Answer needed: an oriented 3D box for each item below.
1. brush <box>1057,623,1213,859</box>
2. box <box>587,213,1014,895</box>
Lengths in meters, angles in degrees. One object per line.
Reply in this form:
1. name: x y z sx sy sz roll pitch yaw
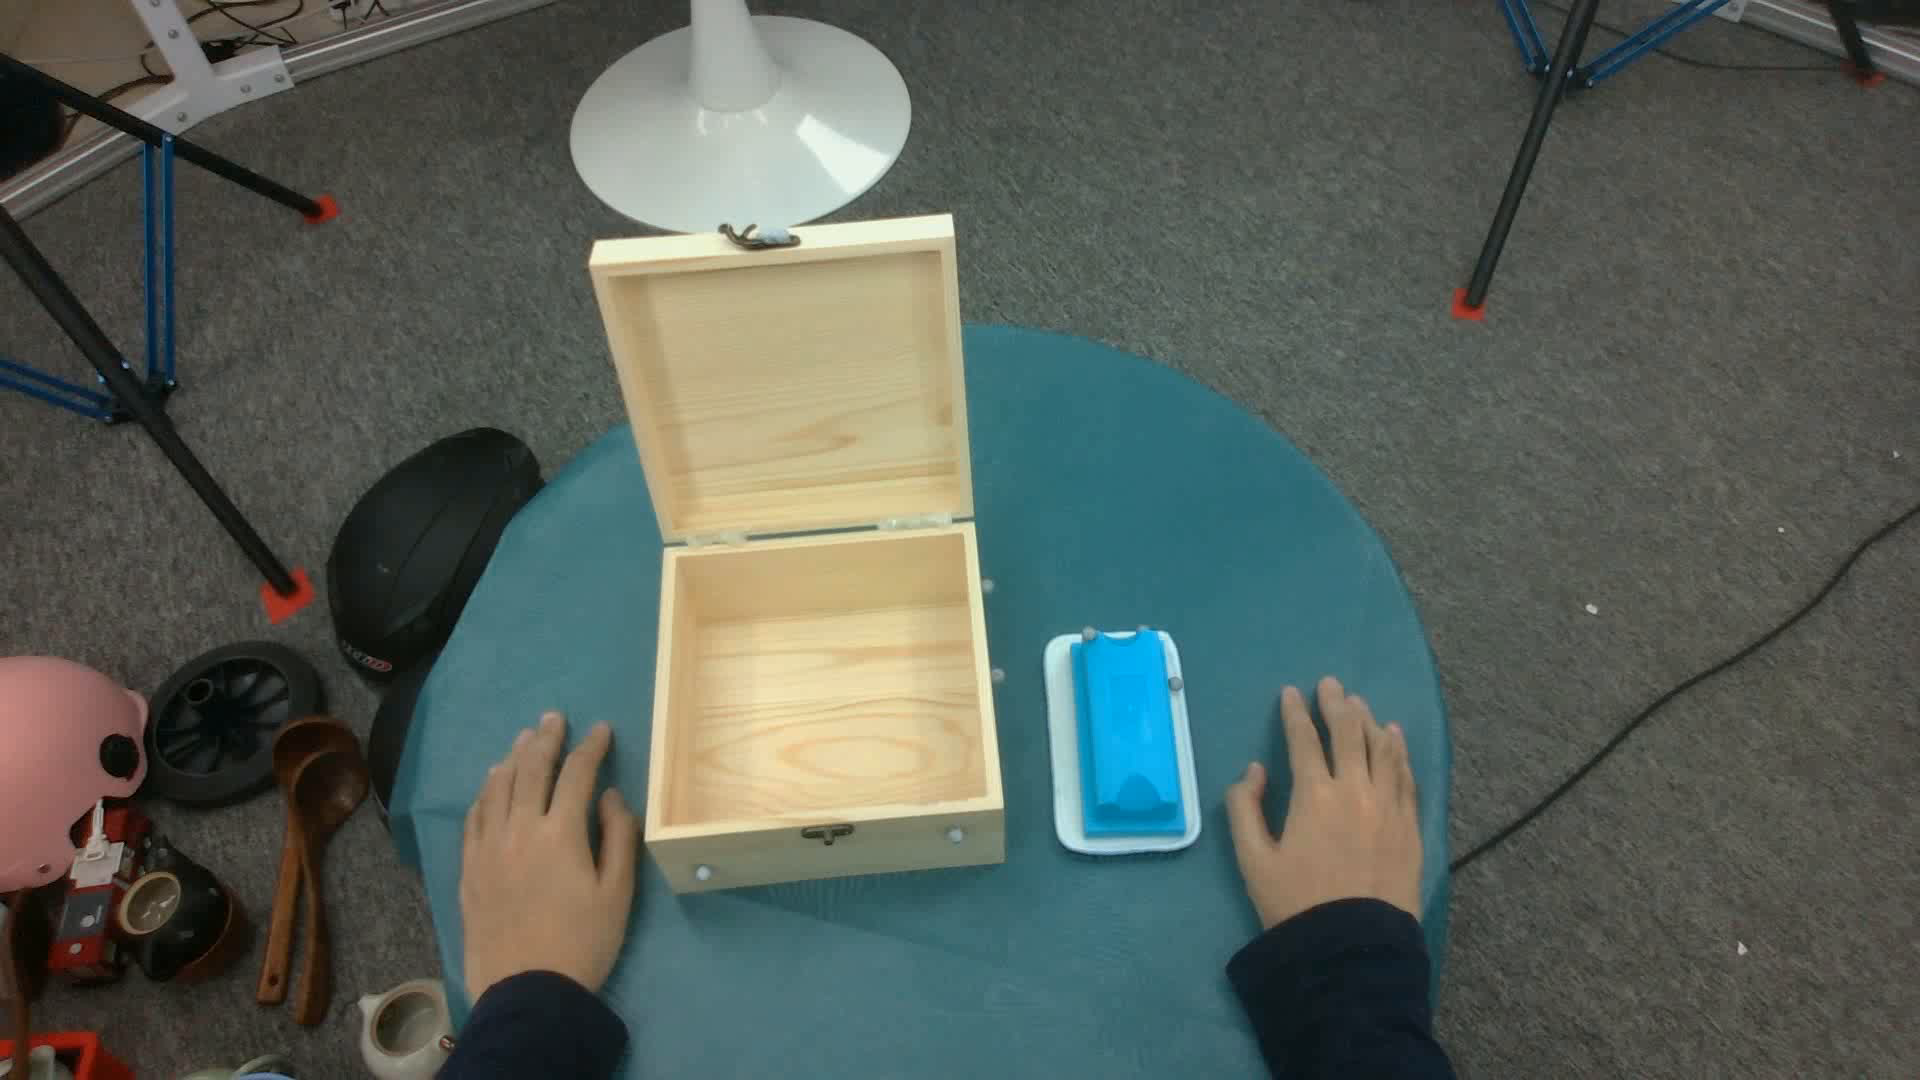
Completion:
1. brush: 0.095 0.105 0.774 0.084 0.055 0.144 -4 53 5
2. box: -0.079 0.015 0.731 0.182 0.252 0.266 -7 55 -1
